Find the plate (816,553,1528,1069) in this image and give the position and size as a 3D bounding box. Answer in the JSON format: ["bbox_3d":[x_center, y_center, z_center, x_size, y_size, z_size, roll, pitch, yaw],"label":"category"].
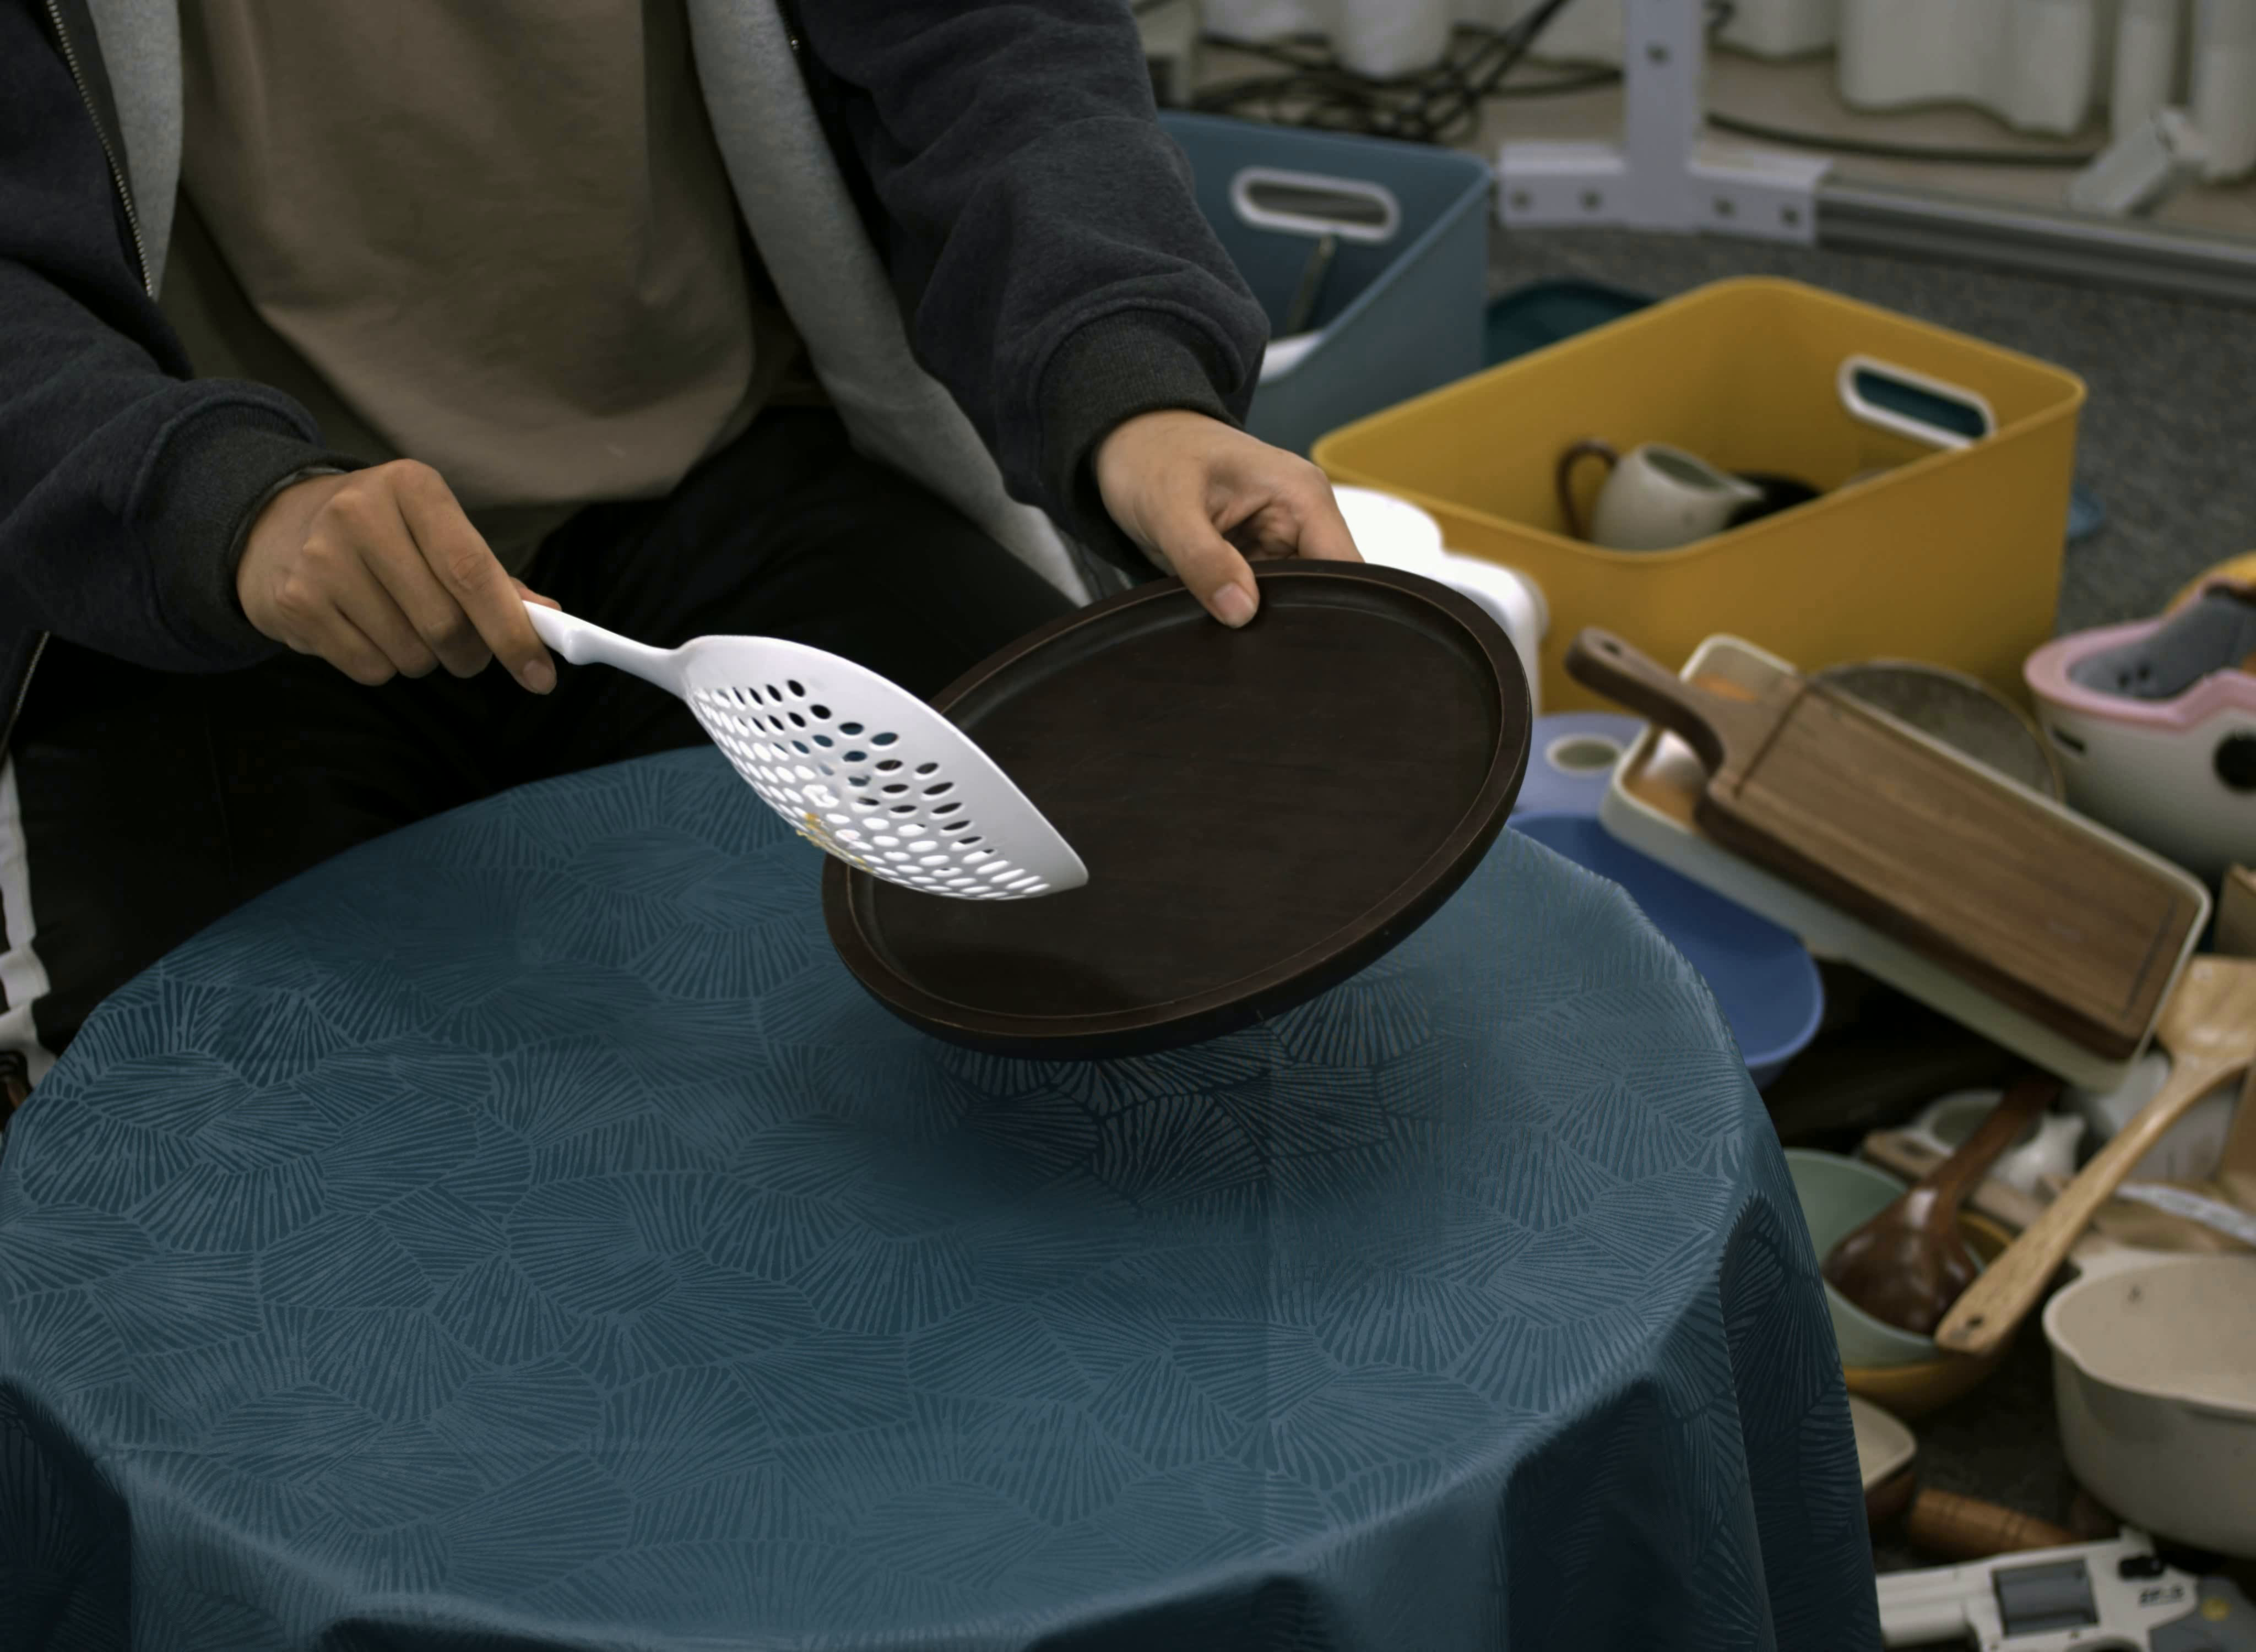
[{"bbox_3d":[0.016,-0.006,1.908,0.253,0.029,0.259,-15,35,11],"label":"plate"}]

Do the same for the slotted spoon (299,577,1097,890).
[{"bbox_3d":[-0.155,-0.043,1.880,0.347,0.135,0.051,24,75,42],"label":"slotted spoon"}]
